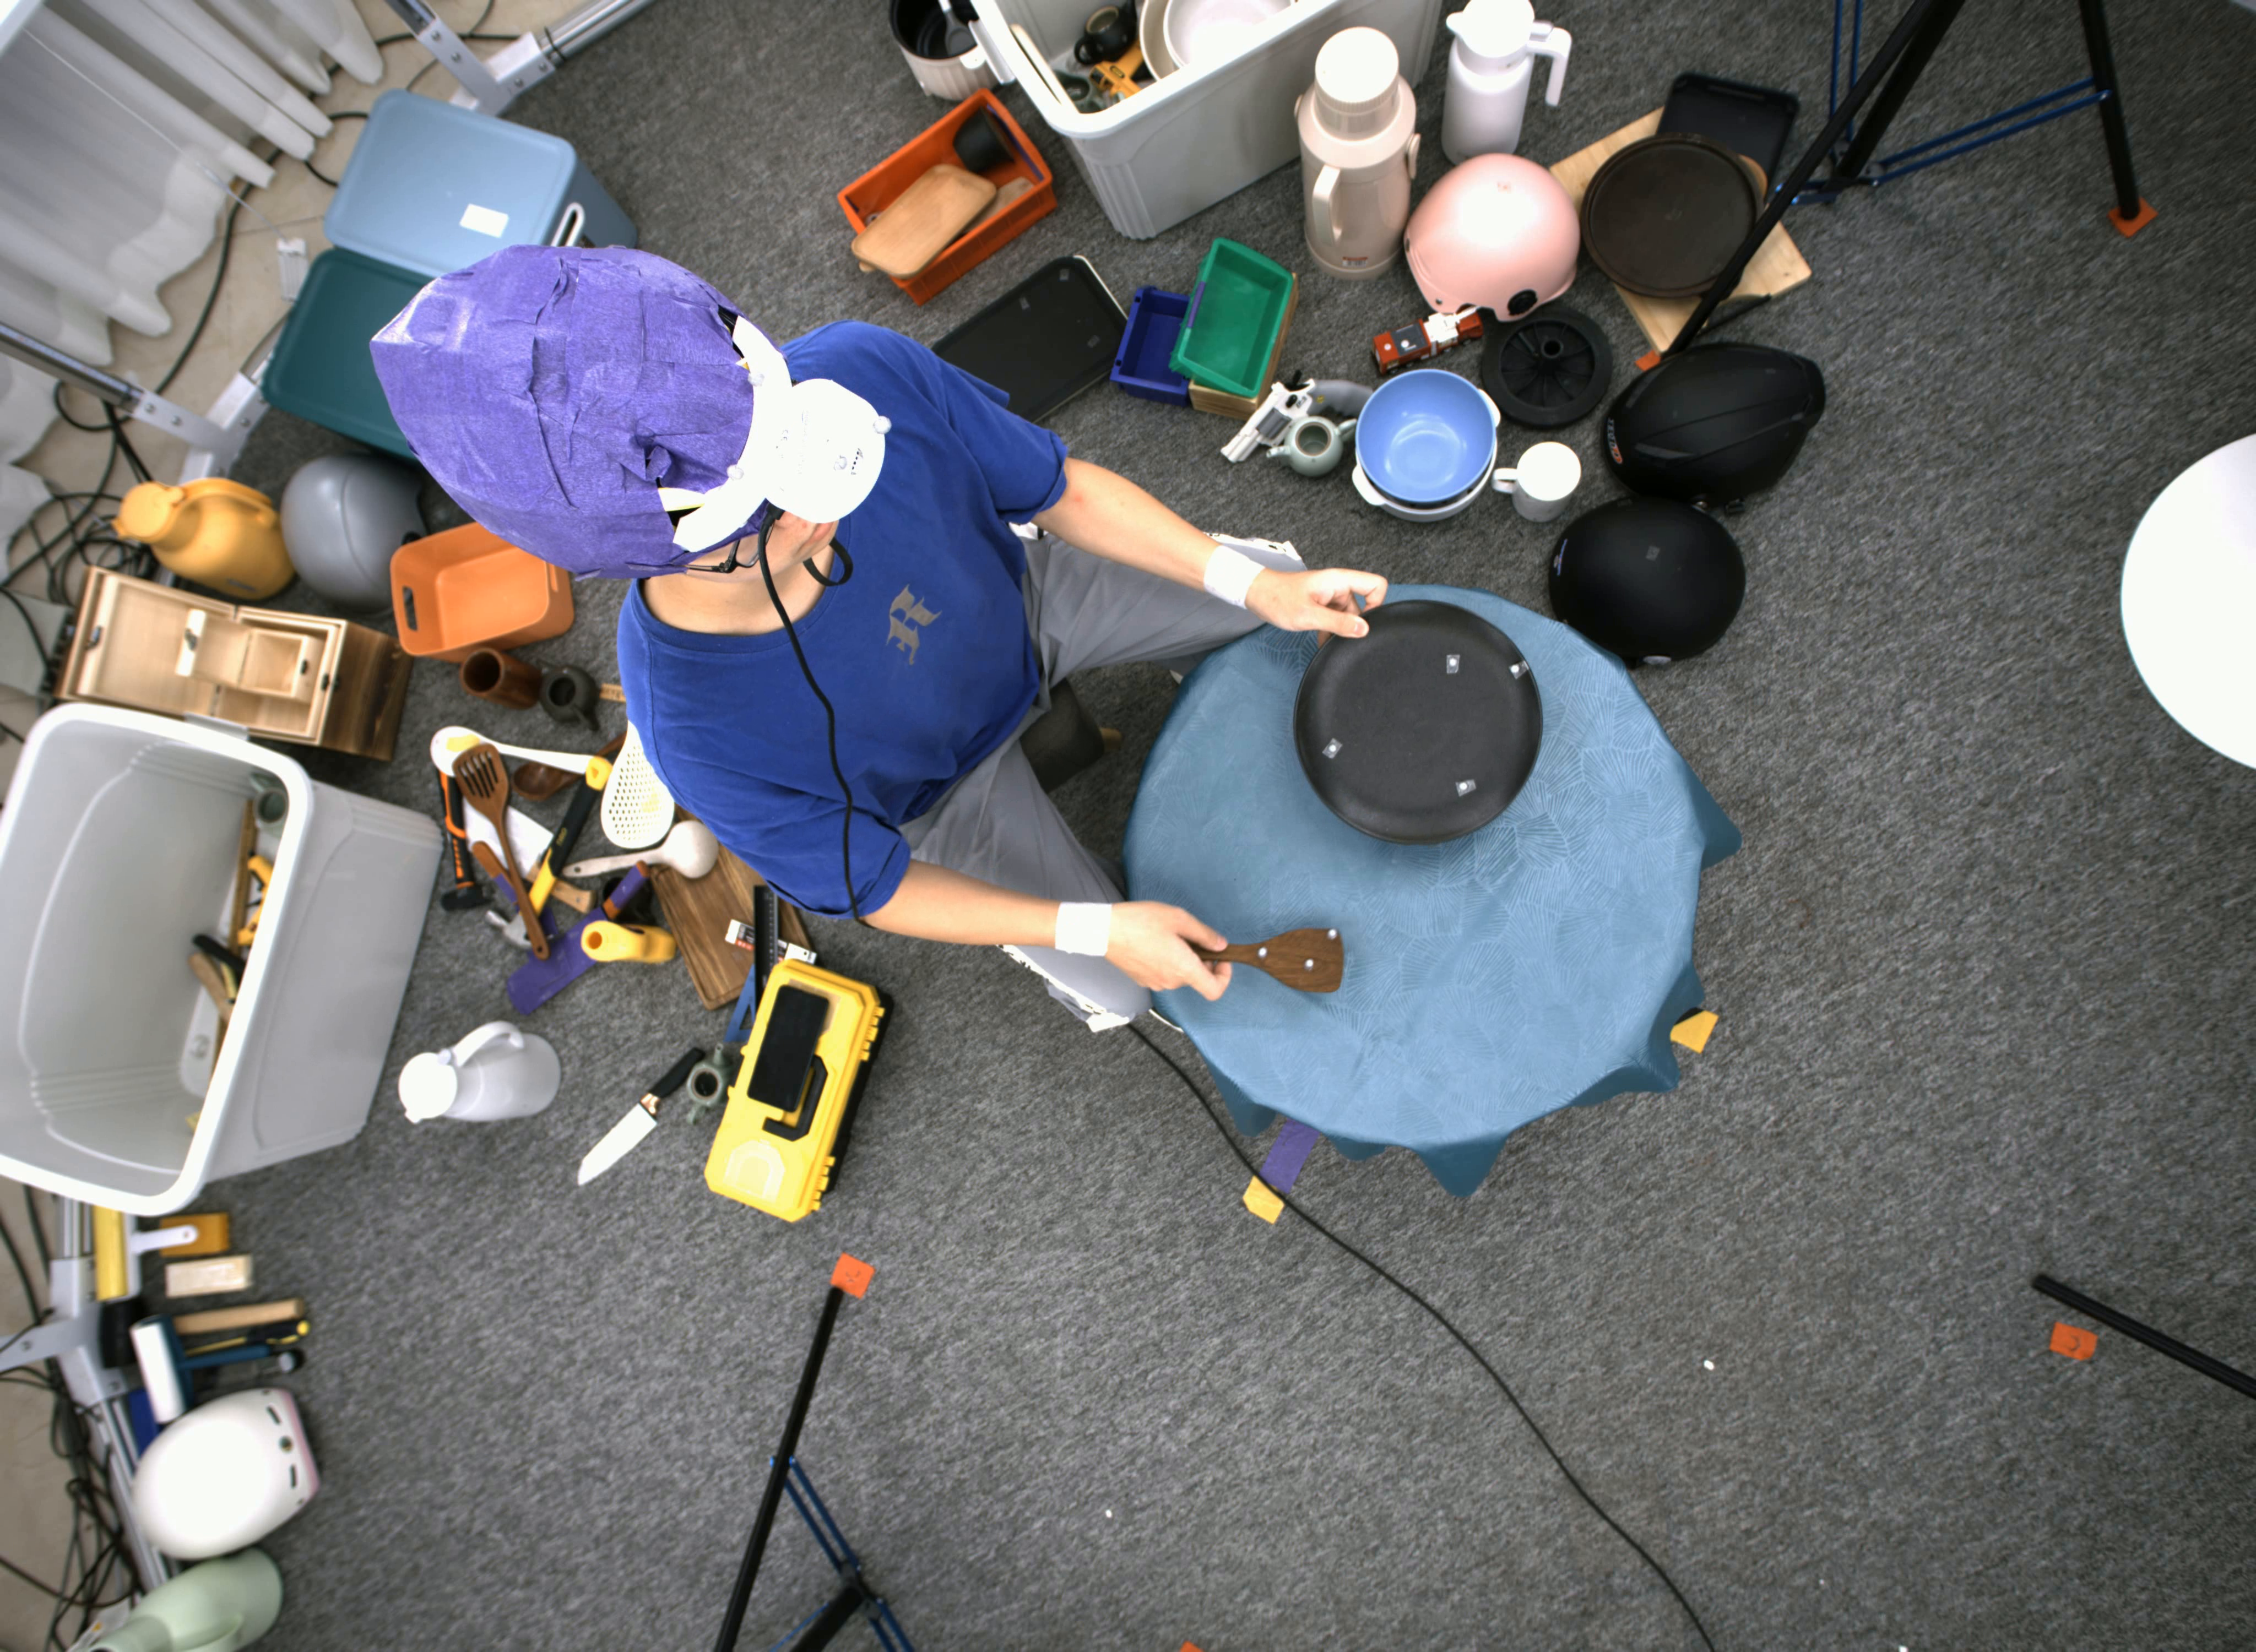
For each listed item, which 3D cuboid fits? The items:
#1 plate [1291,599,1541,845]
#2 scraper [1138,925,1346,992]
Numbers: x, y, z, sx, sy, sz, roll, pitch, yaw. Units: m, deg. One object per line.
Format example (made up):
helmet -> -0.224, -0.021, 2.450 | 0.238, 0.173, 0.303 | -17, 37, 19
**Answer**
plate -> 0.284, -0.103, 1.362 | 0.245, 0.023, 0.247 | 3, 102, 13
scraper -> 0.115, 0.127, 1.415 | 0.212, 0.011, 0.074 | 5, 60, 5
